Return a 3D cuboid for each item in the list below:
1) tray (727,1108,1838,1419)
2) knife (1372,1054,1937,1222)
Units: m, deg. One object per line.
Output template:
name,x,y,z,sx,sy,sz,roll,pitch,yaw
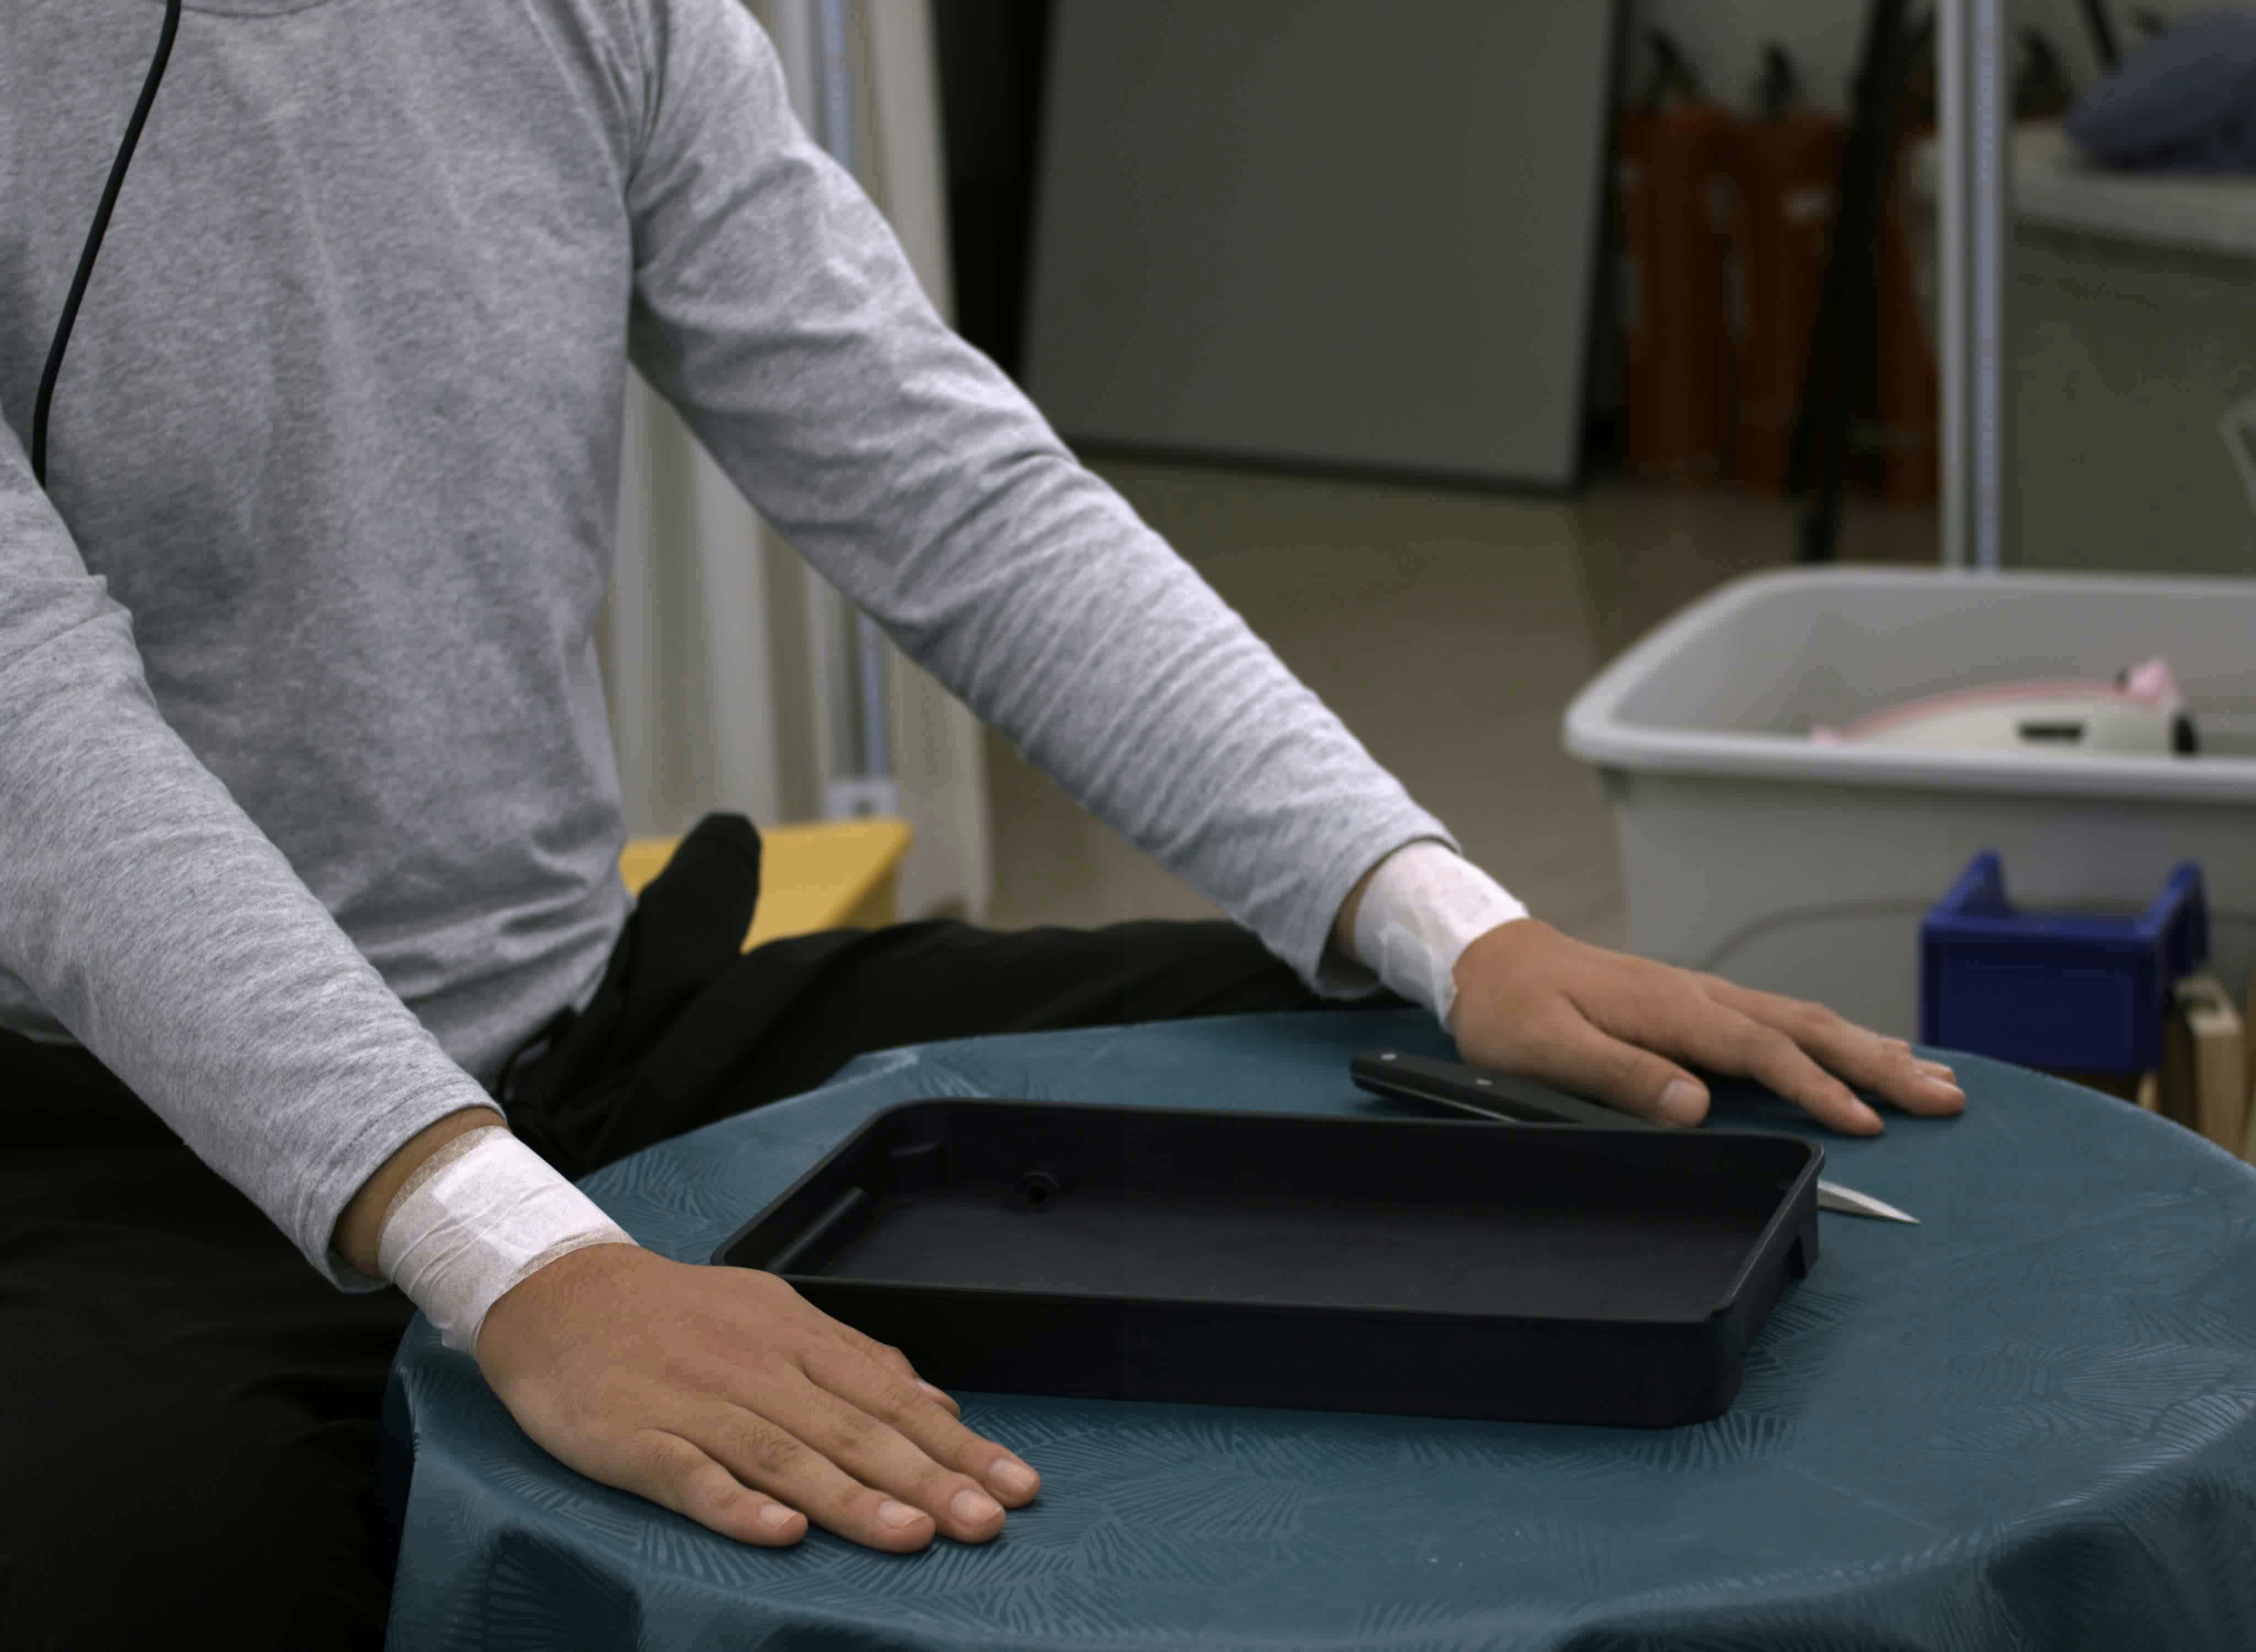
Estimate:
tray,0.051,0.131,1.645,0.317,0.037,0.182,0,13,18
knife,0.168,0.105,1.769,0.024,0.016,0.240,-21,23,-41
